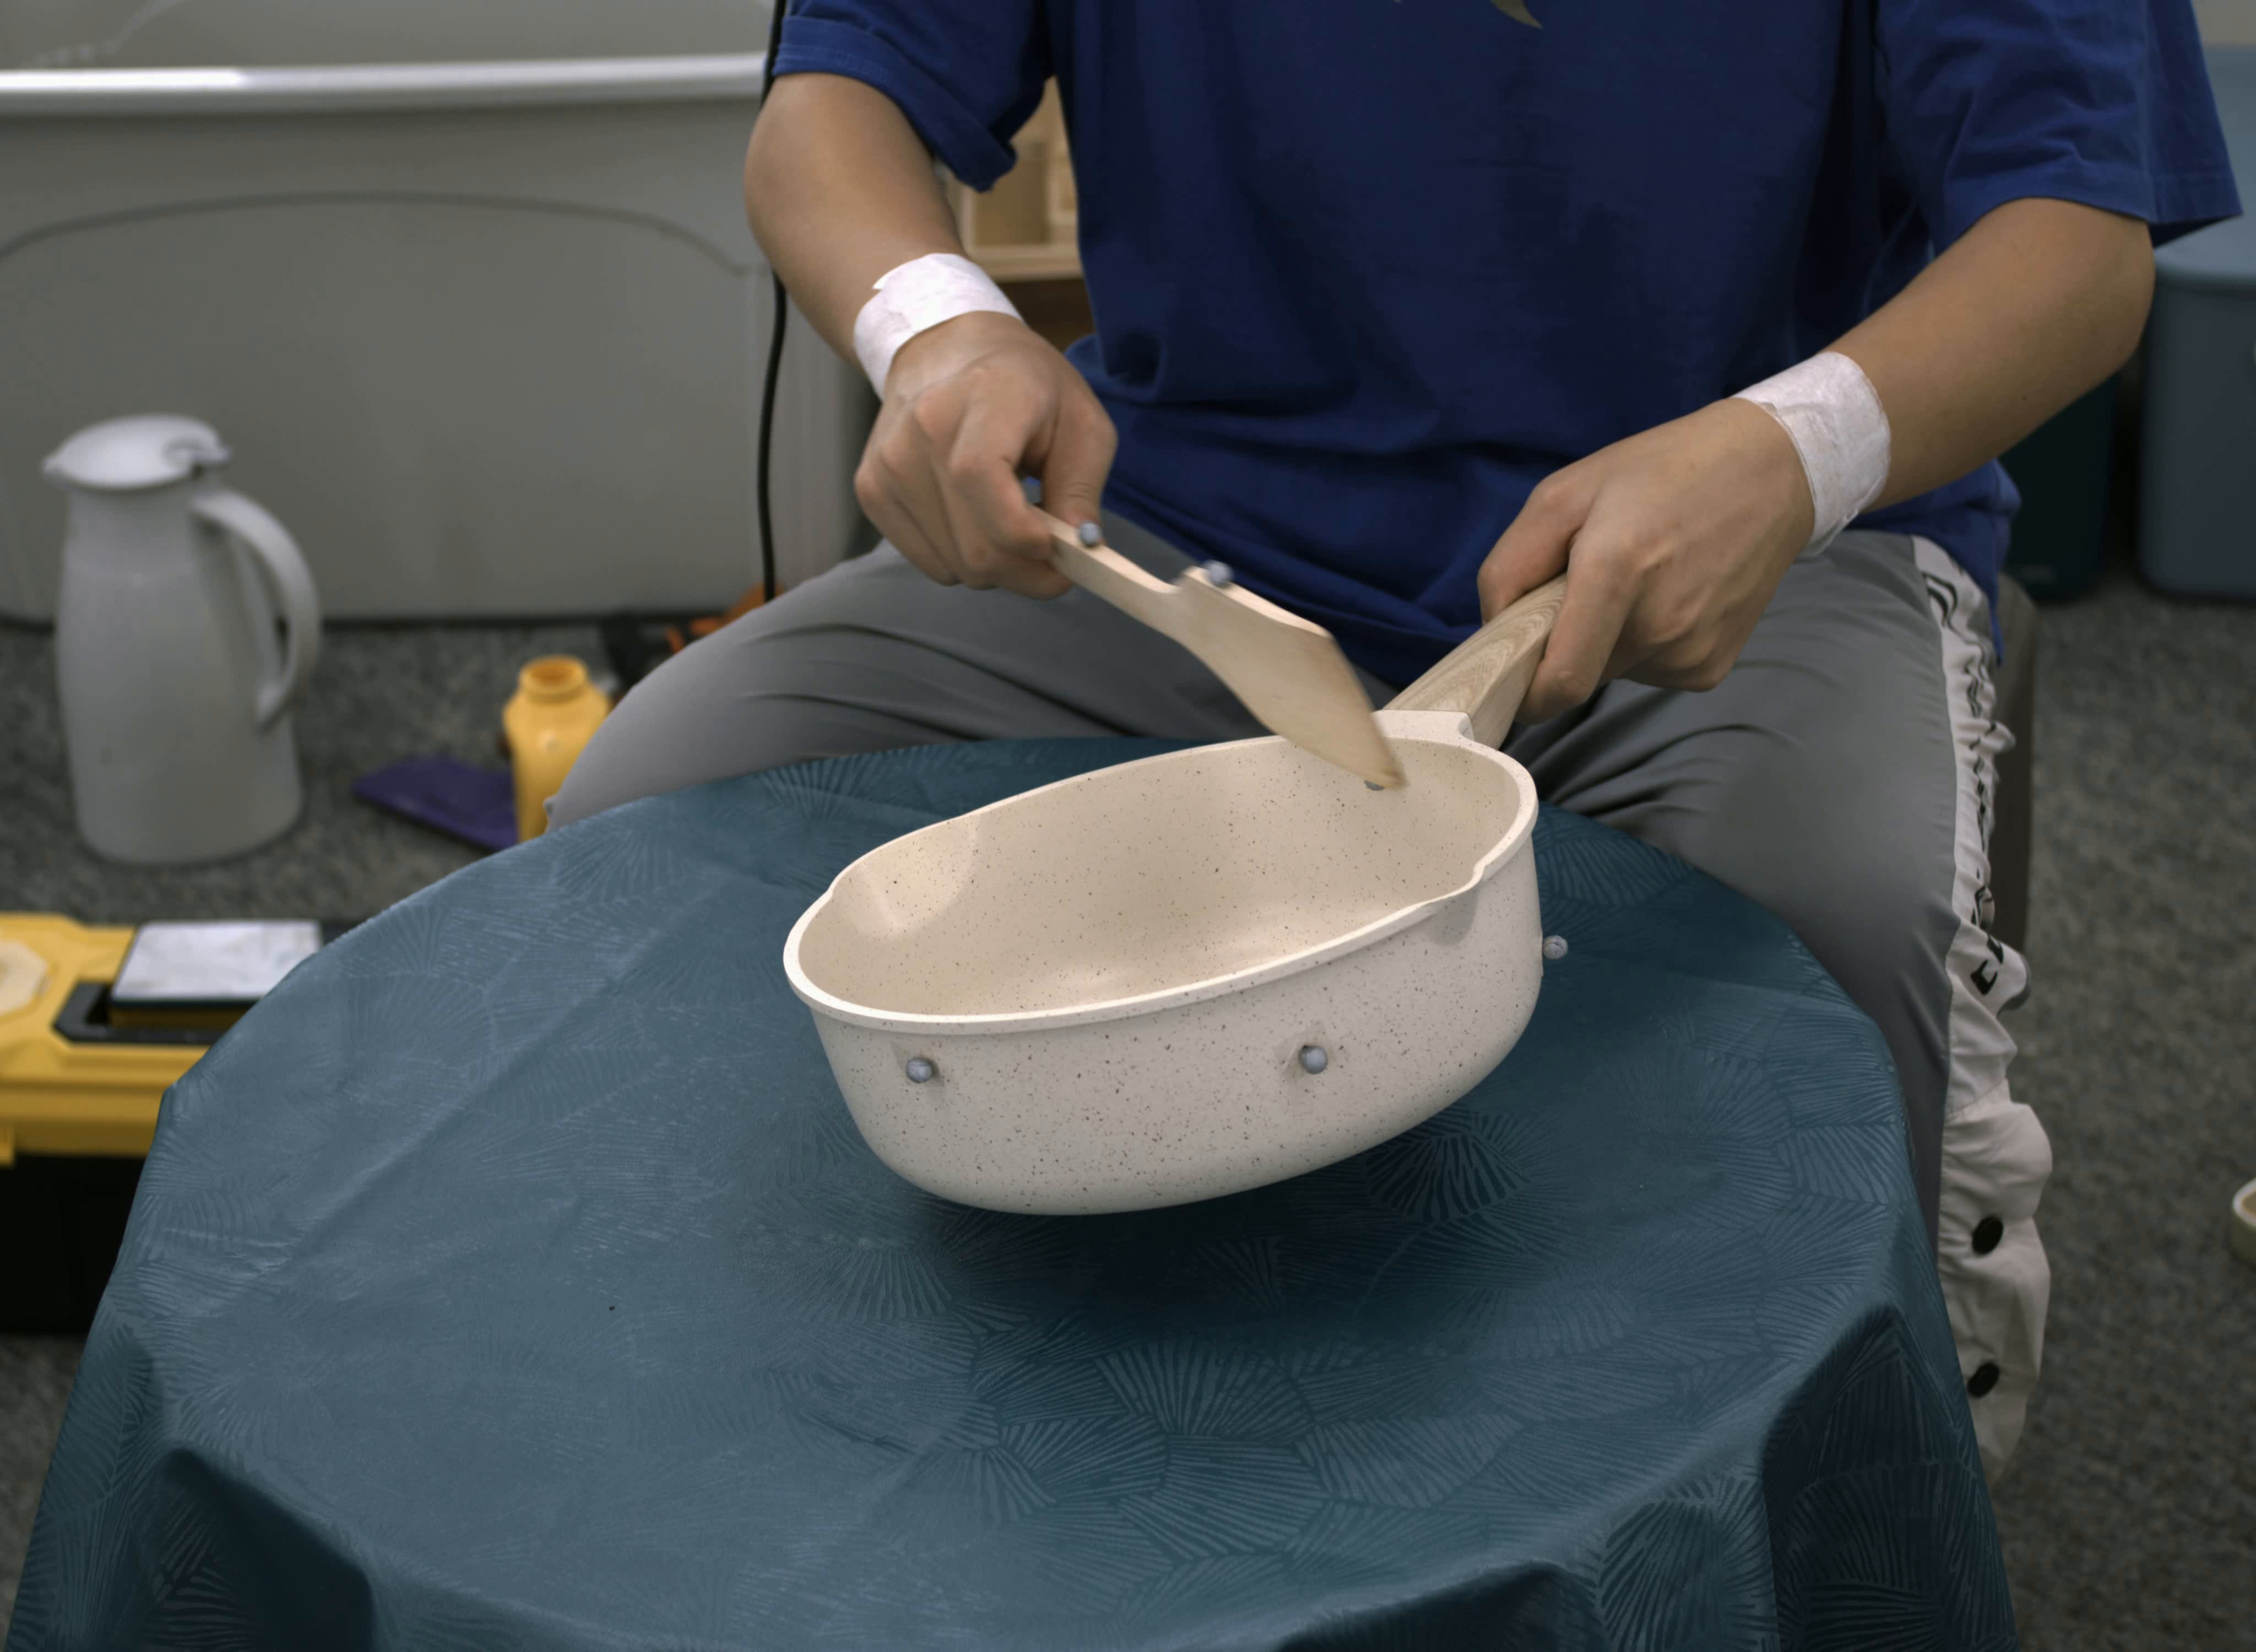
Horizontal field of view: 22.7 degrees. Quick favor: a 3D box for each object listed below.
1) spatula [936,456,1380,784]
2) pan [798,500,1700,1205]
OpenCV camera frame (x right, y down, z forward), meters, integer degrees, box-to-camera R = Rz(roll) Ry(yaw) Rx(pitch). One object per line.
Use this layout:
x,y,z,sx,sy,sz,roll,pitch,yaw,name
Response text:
0.000,-0.083,1.948,0.011,0.071,0.294,-37,31,-12,spatula
0.078,0.008,1.897,0.261,0.101,0.441,0,21,41,pan
